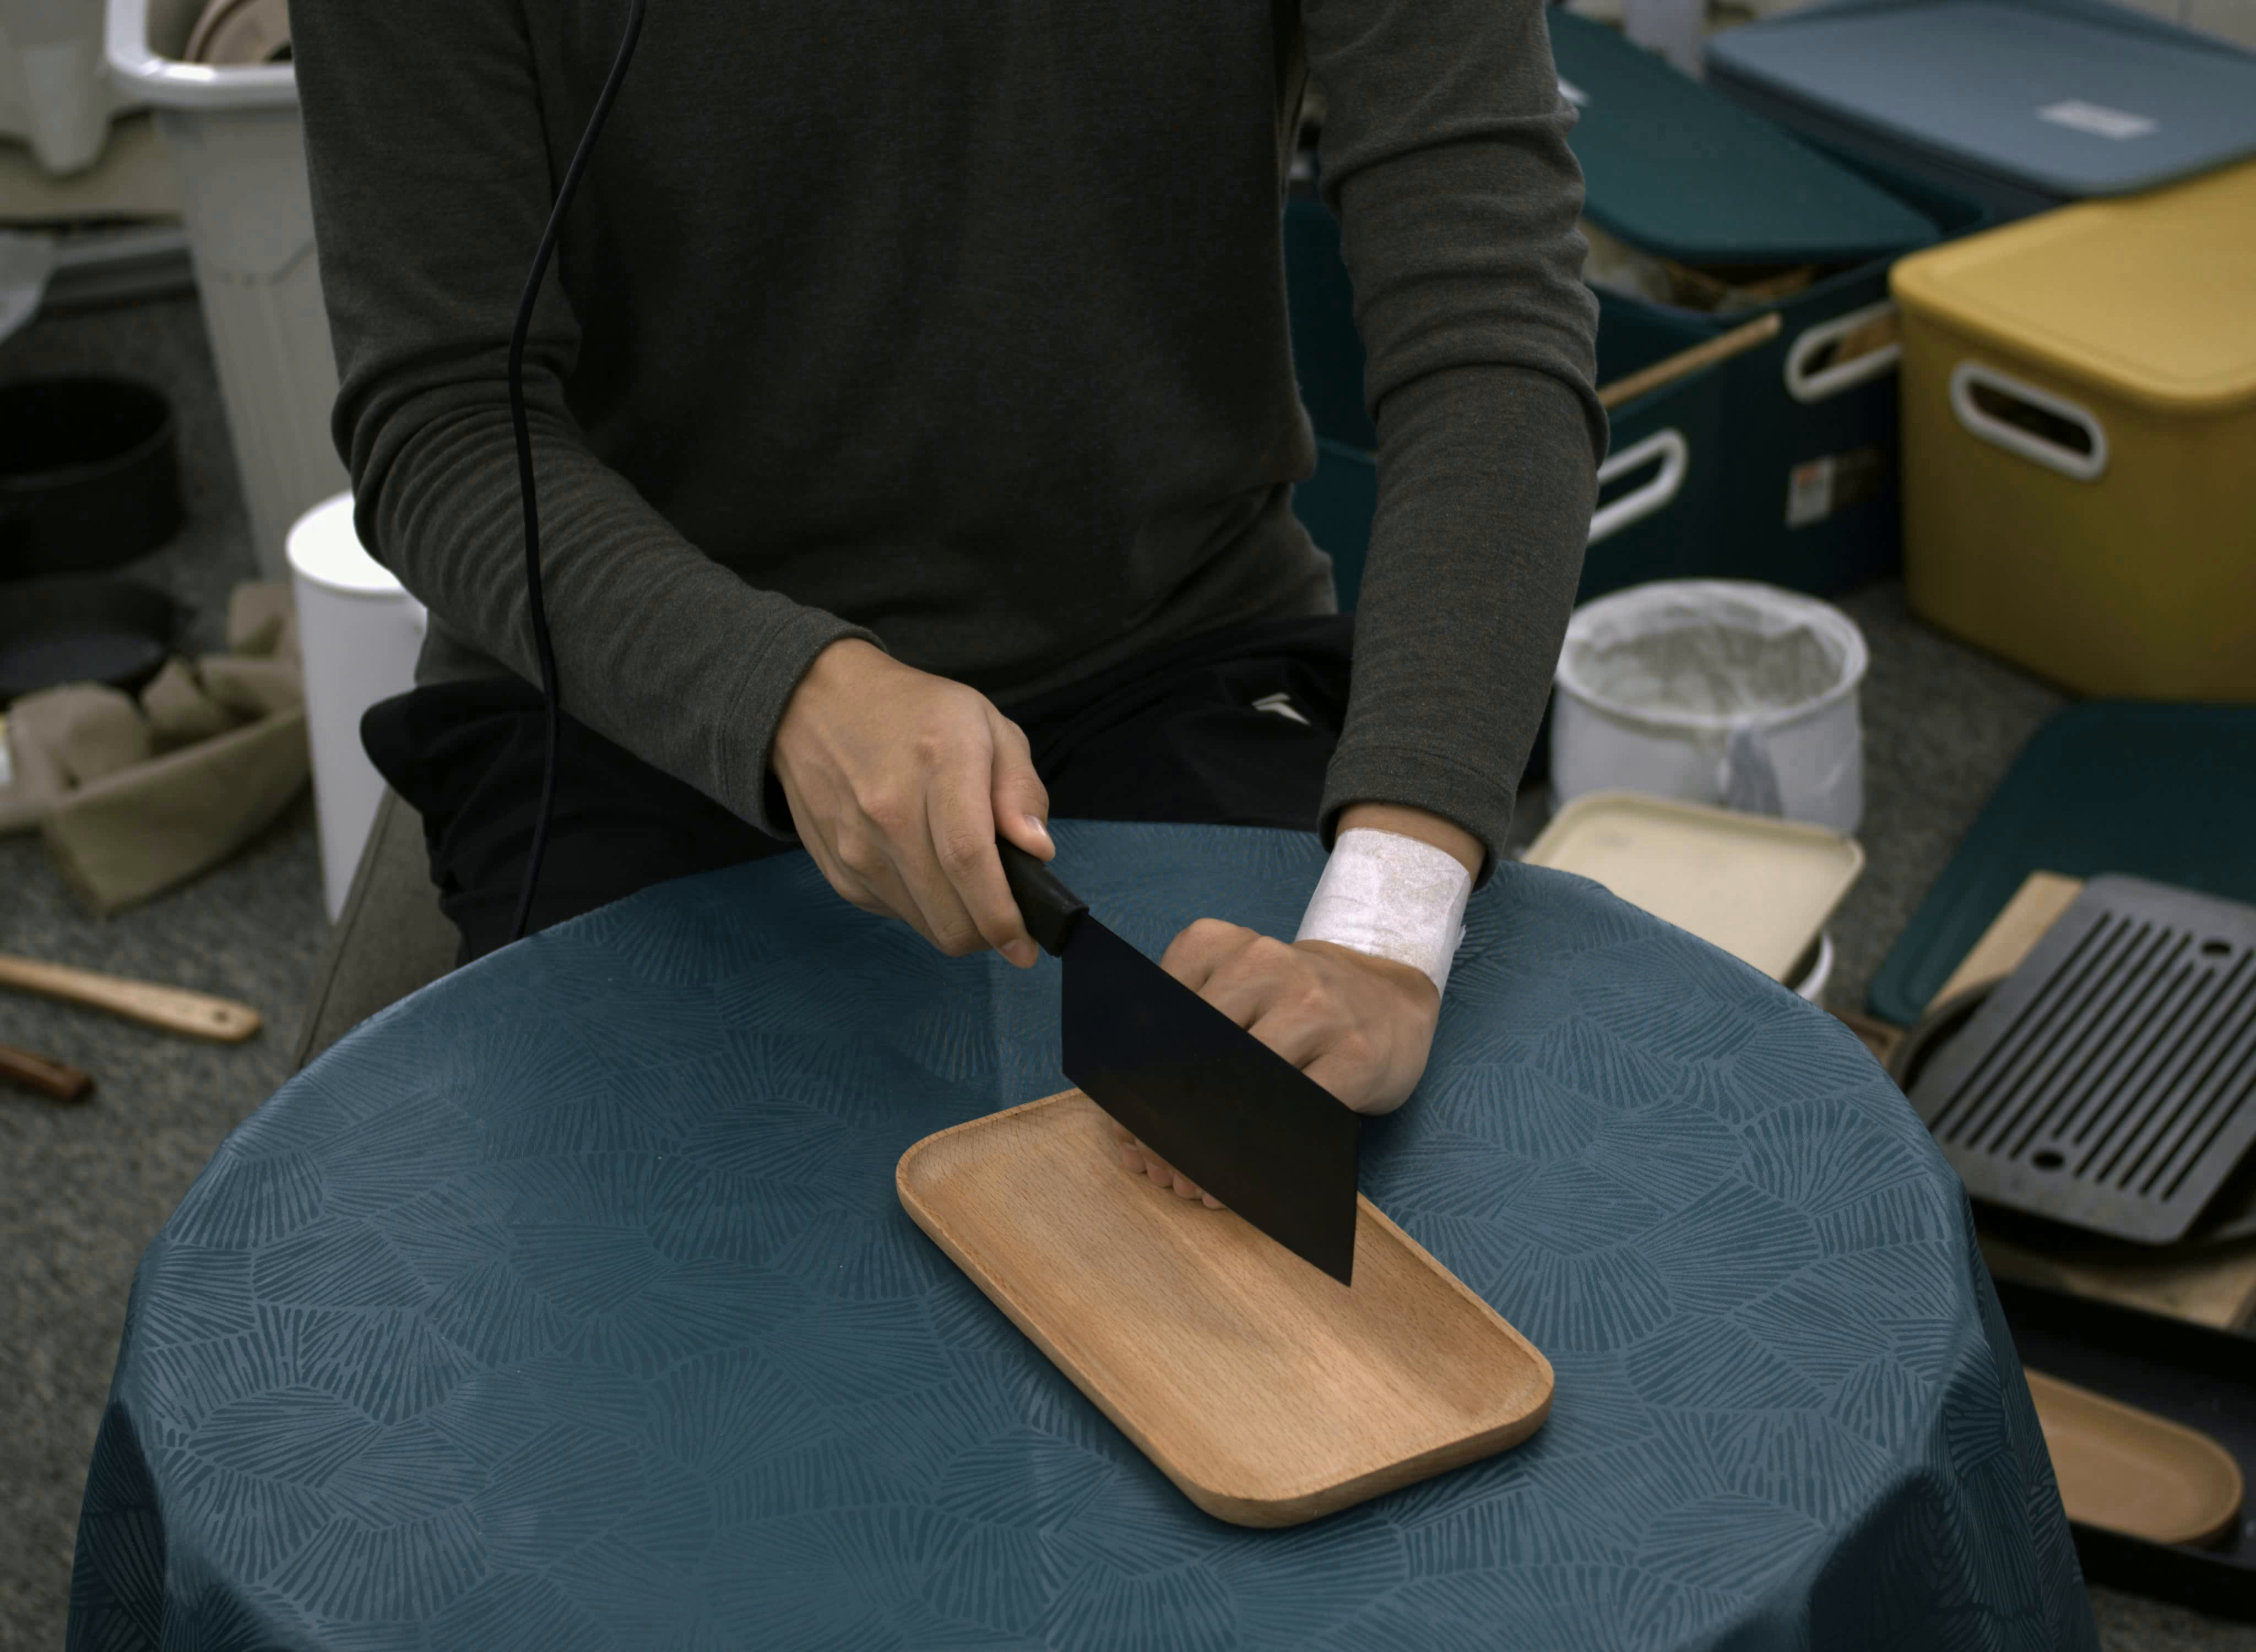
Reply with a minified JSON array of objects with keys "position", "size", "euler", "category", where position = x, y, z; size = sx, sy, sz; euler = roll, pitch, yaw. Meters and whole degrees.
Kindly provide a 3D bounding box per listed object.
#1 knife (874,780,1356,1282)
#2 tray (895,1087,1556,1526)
[{"position":[-0.006,0.059,1.837],"size":[0.021,0.080,0.304],"euler":[-10,30,-29],"category":"knife"},{"position":[0.027,0.147,1.793],"size":[0.131,0.022,0.252],"euler":[-13,28,-24],"category":"tray"}]
